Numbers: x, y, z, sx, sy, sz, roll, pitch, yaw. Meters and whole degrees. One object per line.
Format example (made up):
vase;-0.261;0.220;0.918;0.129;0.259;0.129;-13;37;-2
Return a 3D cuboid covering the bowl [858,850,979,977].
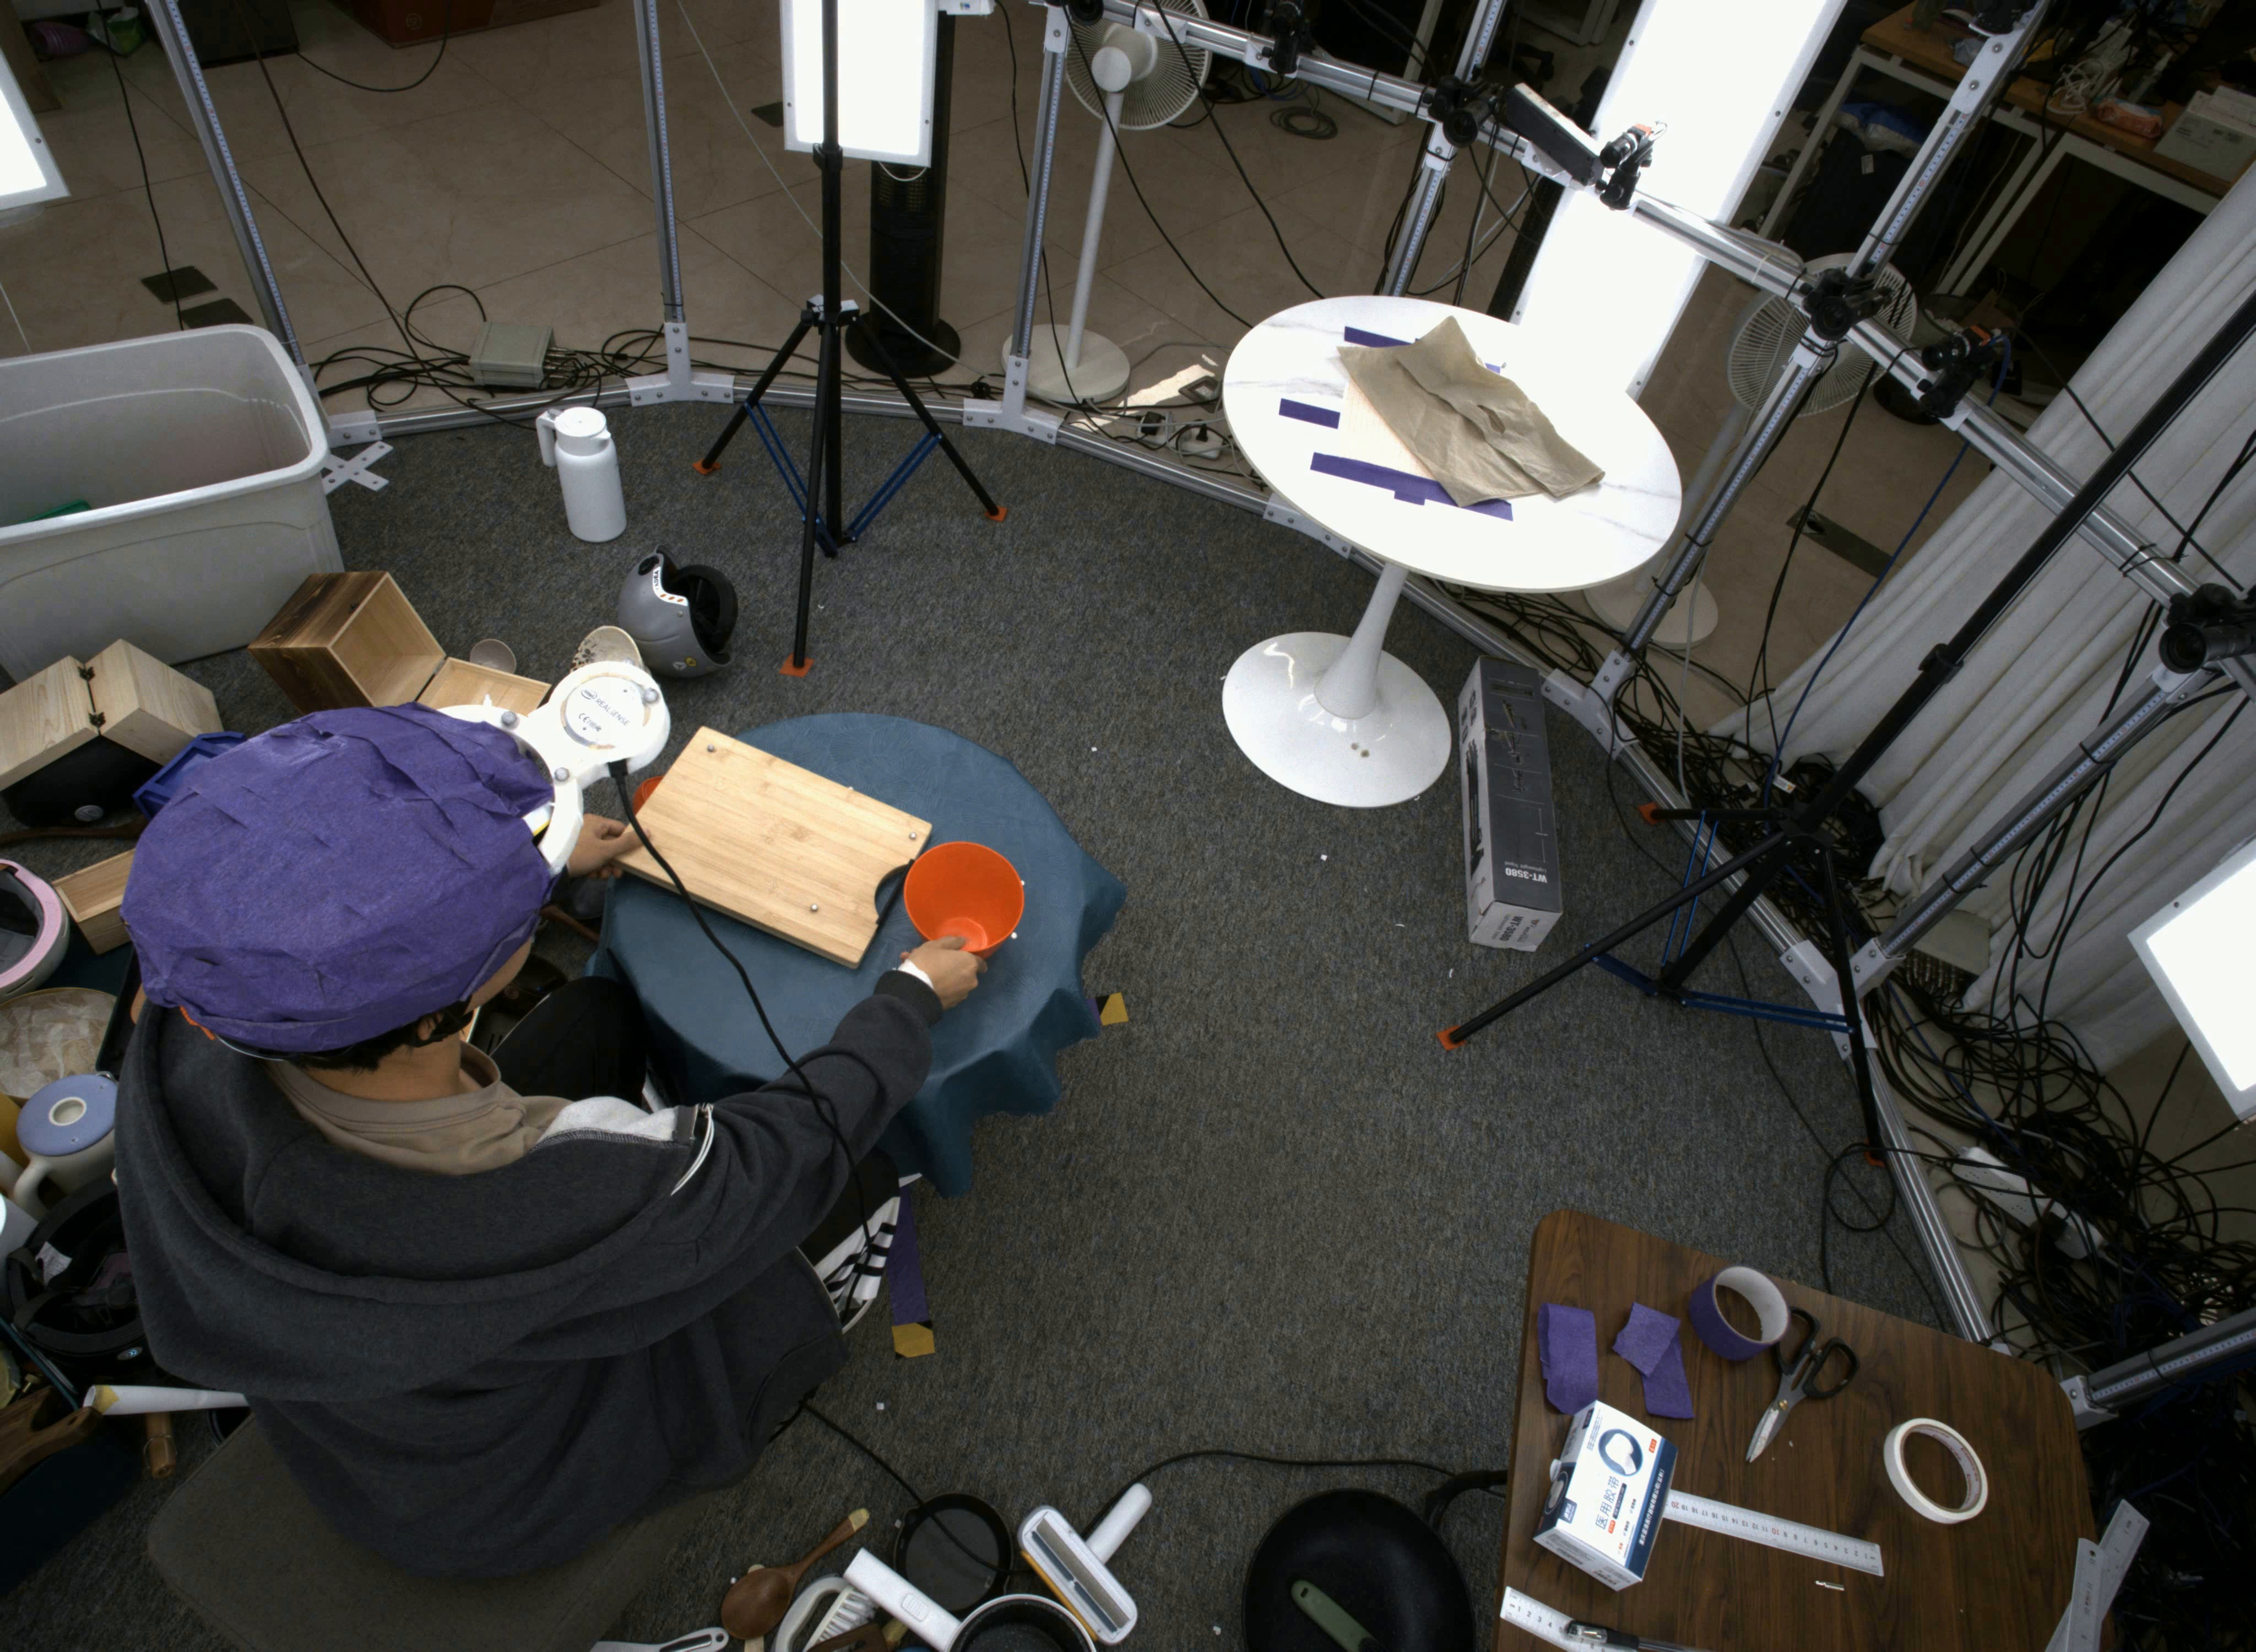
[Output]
bowl;-0.261;0.119;1.616;0.148;0.107;0.145;8;51;-9

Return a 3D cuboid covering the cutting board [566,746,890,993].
cutting board;-0.506;0.047;1.642;0.348;0.024;0.248;21;52;-6
